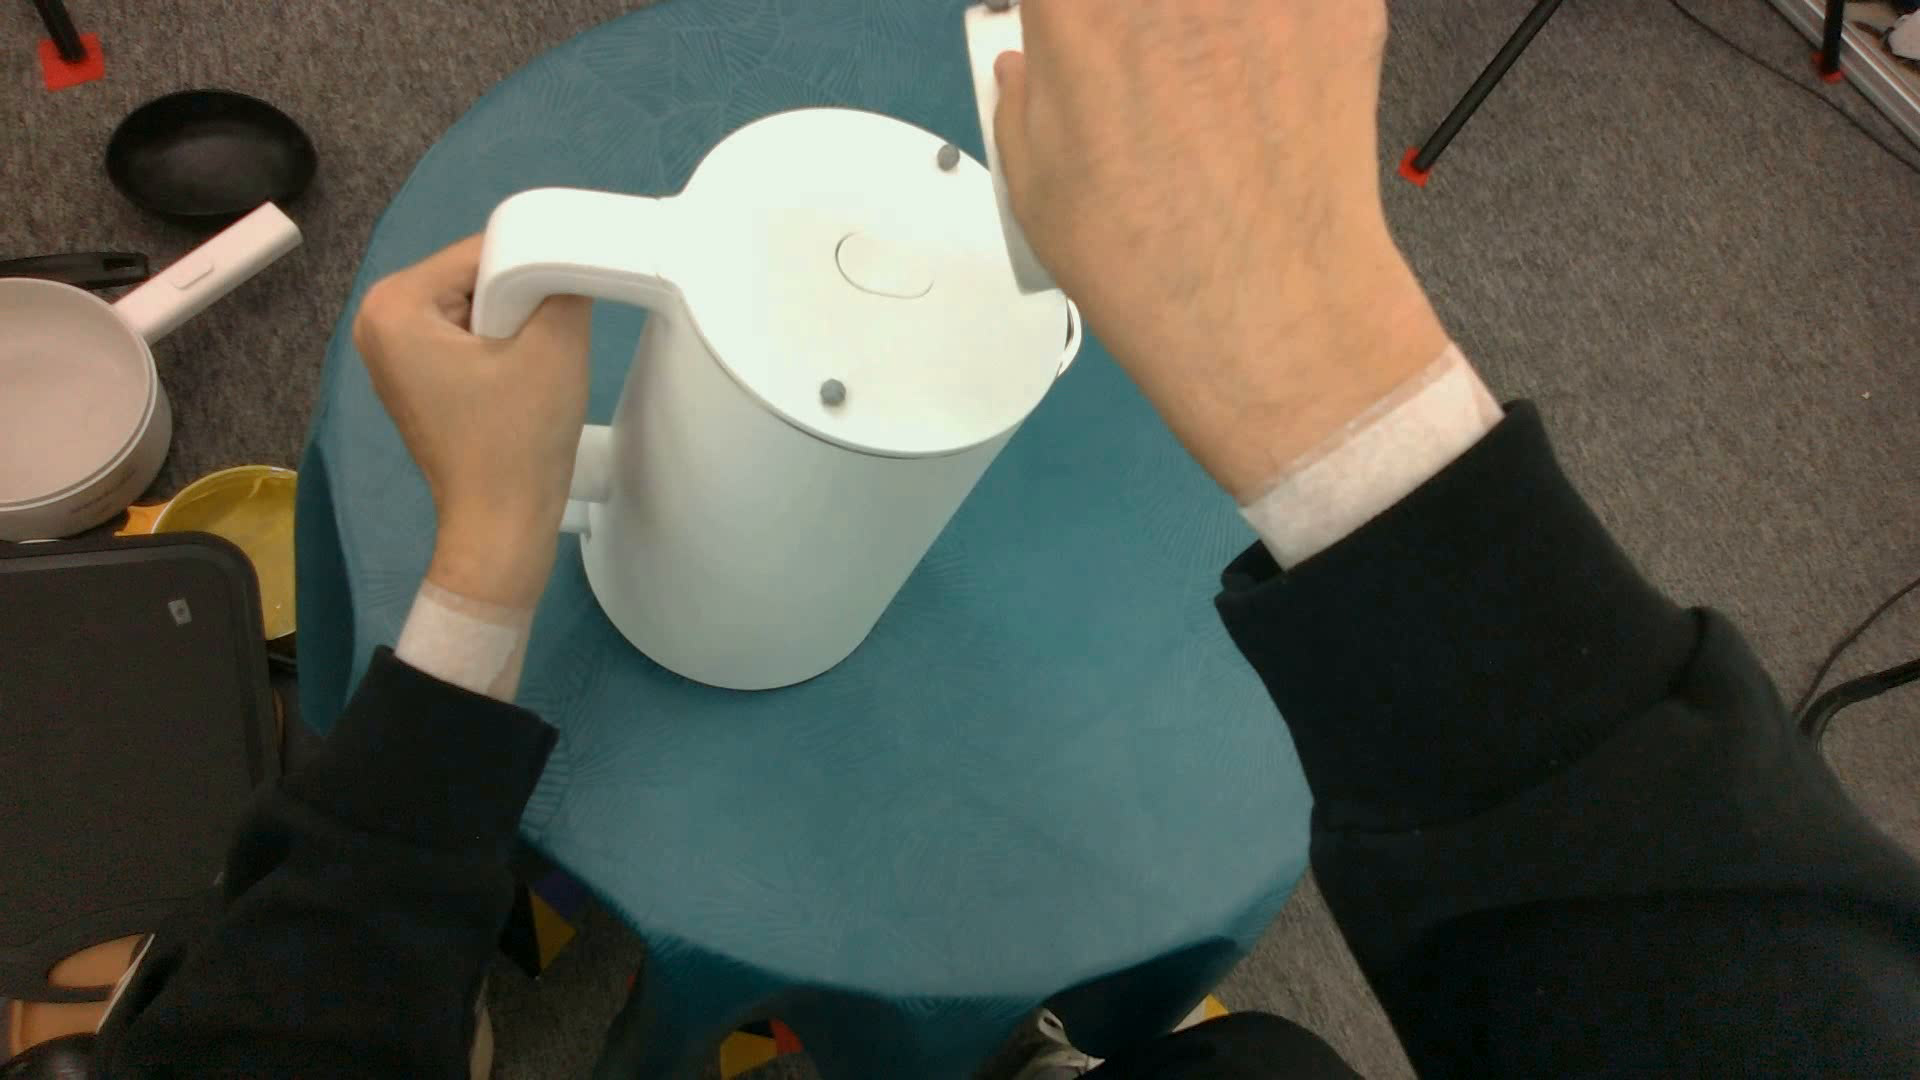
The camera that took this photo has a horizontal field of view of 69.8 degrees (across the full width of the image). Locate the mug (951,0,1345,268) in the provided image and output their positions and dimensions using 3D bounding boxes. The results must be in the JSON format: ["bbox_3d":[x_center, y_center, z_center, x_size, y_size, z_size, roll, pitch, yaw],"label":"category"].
[{"bbox_3d":[0.054,-0.134,0.399,0.102,0.118,0.085,-11,91,6],"label":"mug"}]

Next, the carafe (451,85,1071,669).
[{"bbox_3d":[-0.096,-0.060,0.568,0.213,0.239,0.152,6,62,-21],"label":"carafe"}]
